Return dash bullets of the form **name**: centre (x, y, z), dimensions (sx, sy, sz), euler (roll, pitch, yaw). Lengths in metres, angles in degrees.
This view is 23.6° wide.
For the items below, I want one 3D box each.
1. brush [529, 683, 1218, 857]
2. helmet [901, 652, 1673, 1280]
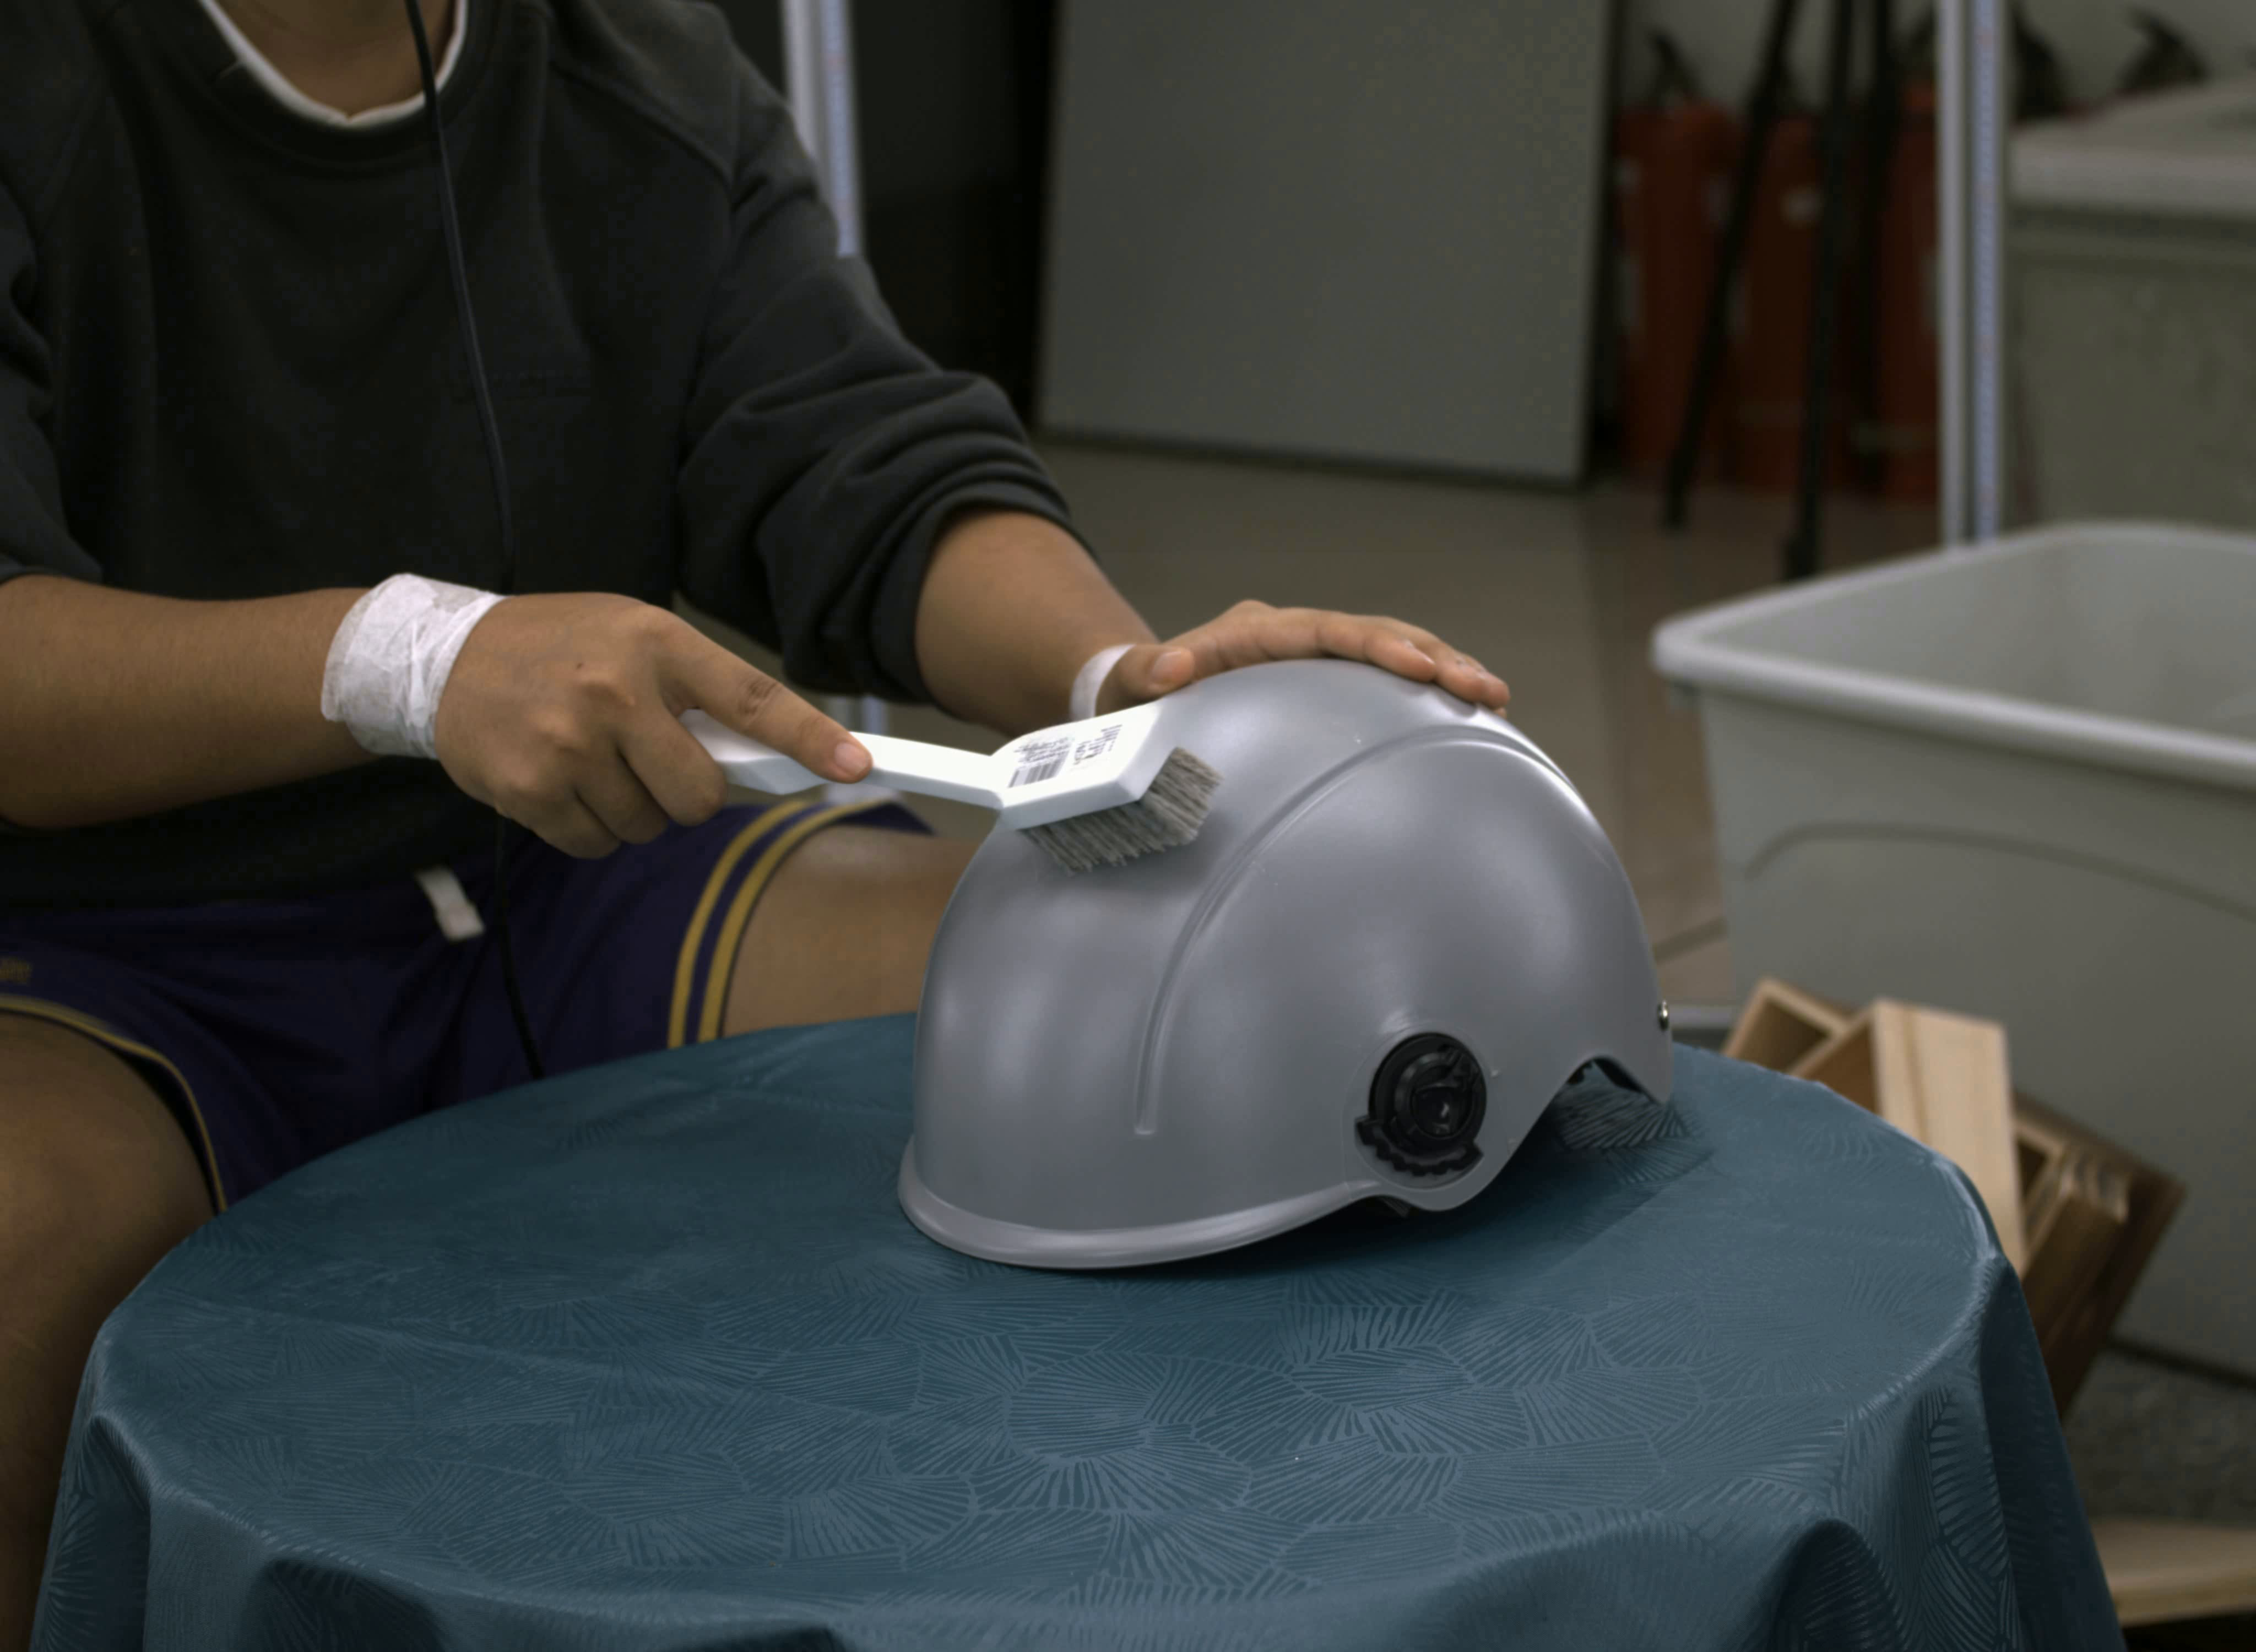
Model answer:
- **brush**: centre (-0.083, -0.015, 1.733), dimensions (0.244, 0.050, 0.034), euler (-2, 46, 29)
- **helmet**: centre (0.045, 0.033, 1.777), dimensions (0.270, 0.170, 0.234), euler (-17, 17, -39)
